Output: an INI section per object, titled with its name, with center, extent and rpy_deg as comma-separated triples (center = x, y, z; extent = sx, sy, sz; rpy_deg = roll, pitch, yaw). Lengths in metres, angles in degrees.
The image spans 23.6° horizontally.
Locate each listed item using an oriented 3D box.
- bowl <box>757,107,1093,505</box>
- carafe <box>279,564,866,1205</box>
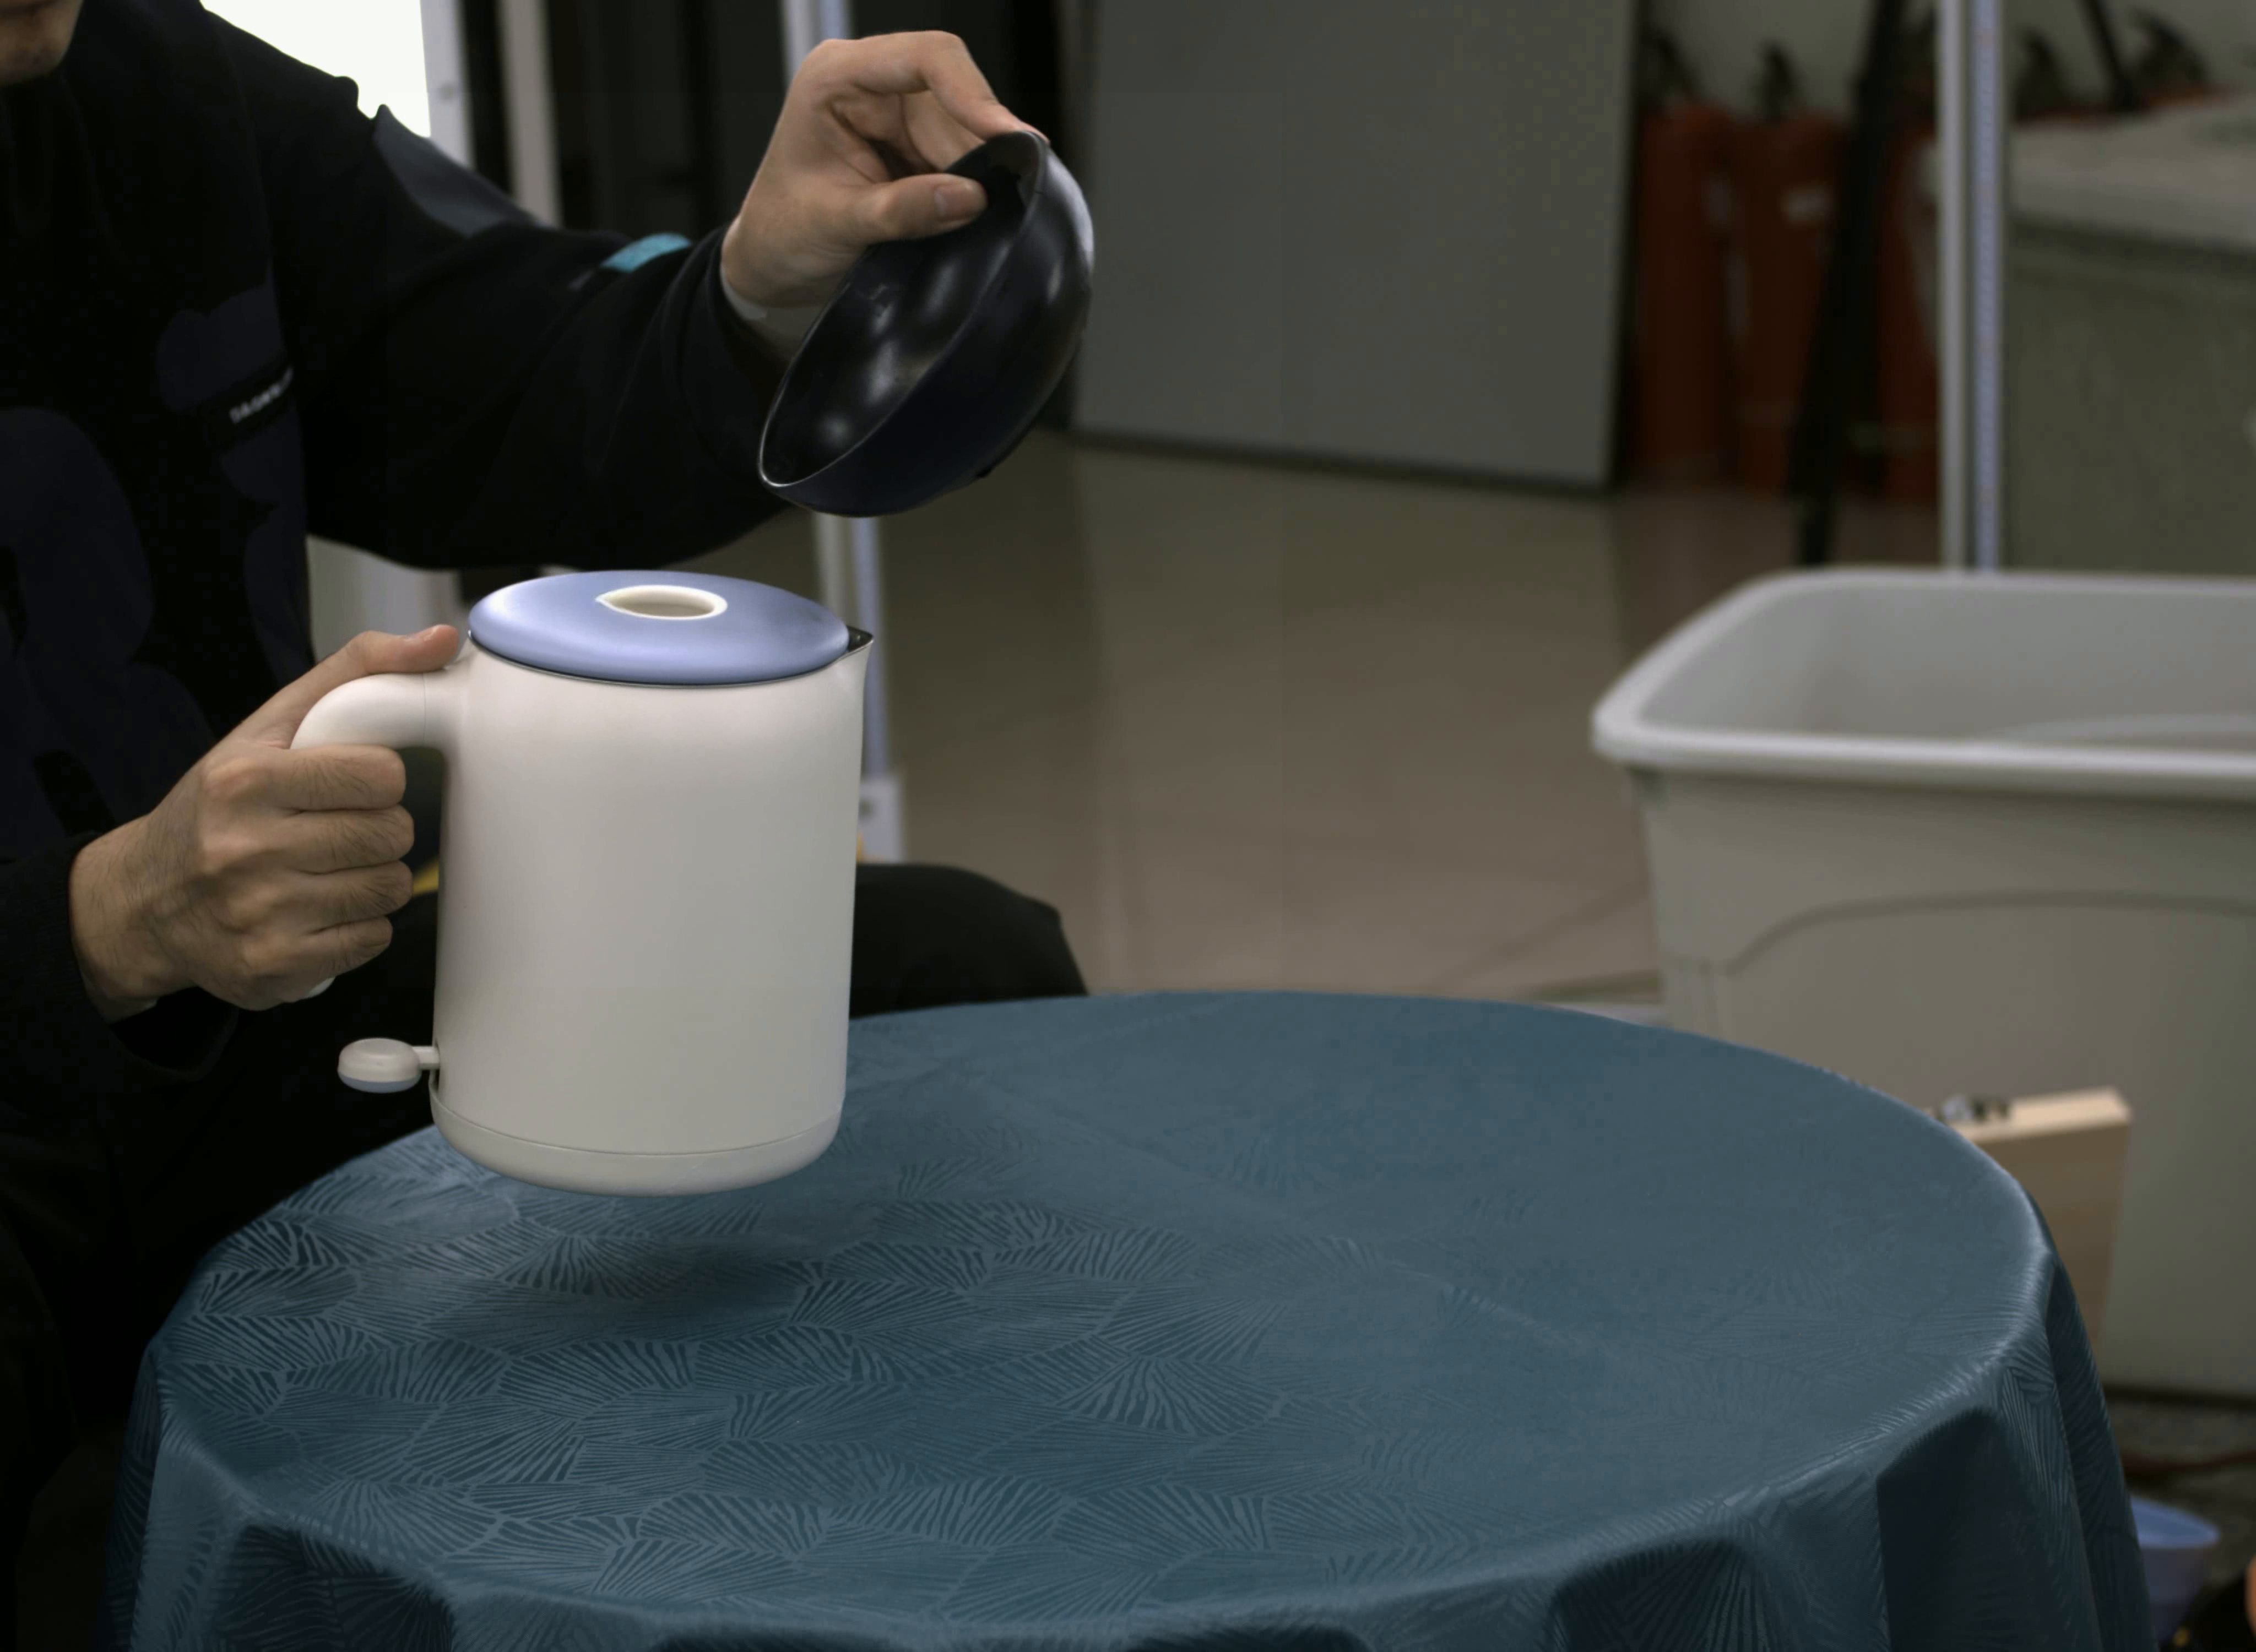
[bowl]
center = -0.053, -0.151, 1.673
extent = 0.049, 0.140, 0.141
rpy_deg = 36, 1, -19
[carafe]
center = -0.170, 0.019, 1.674
extent = 0.187, 0.184, 0.133
rpy_deg = -6, 14, -17
